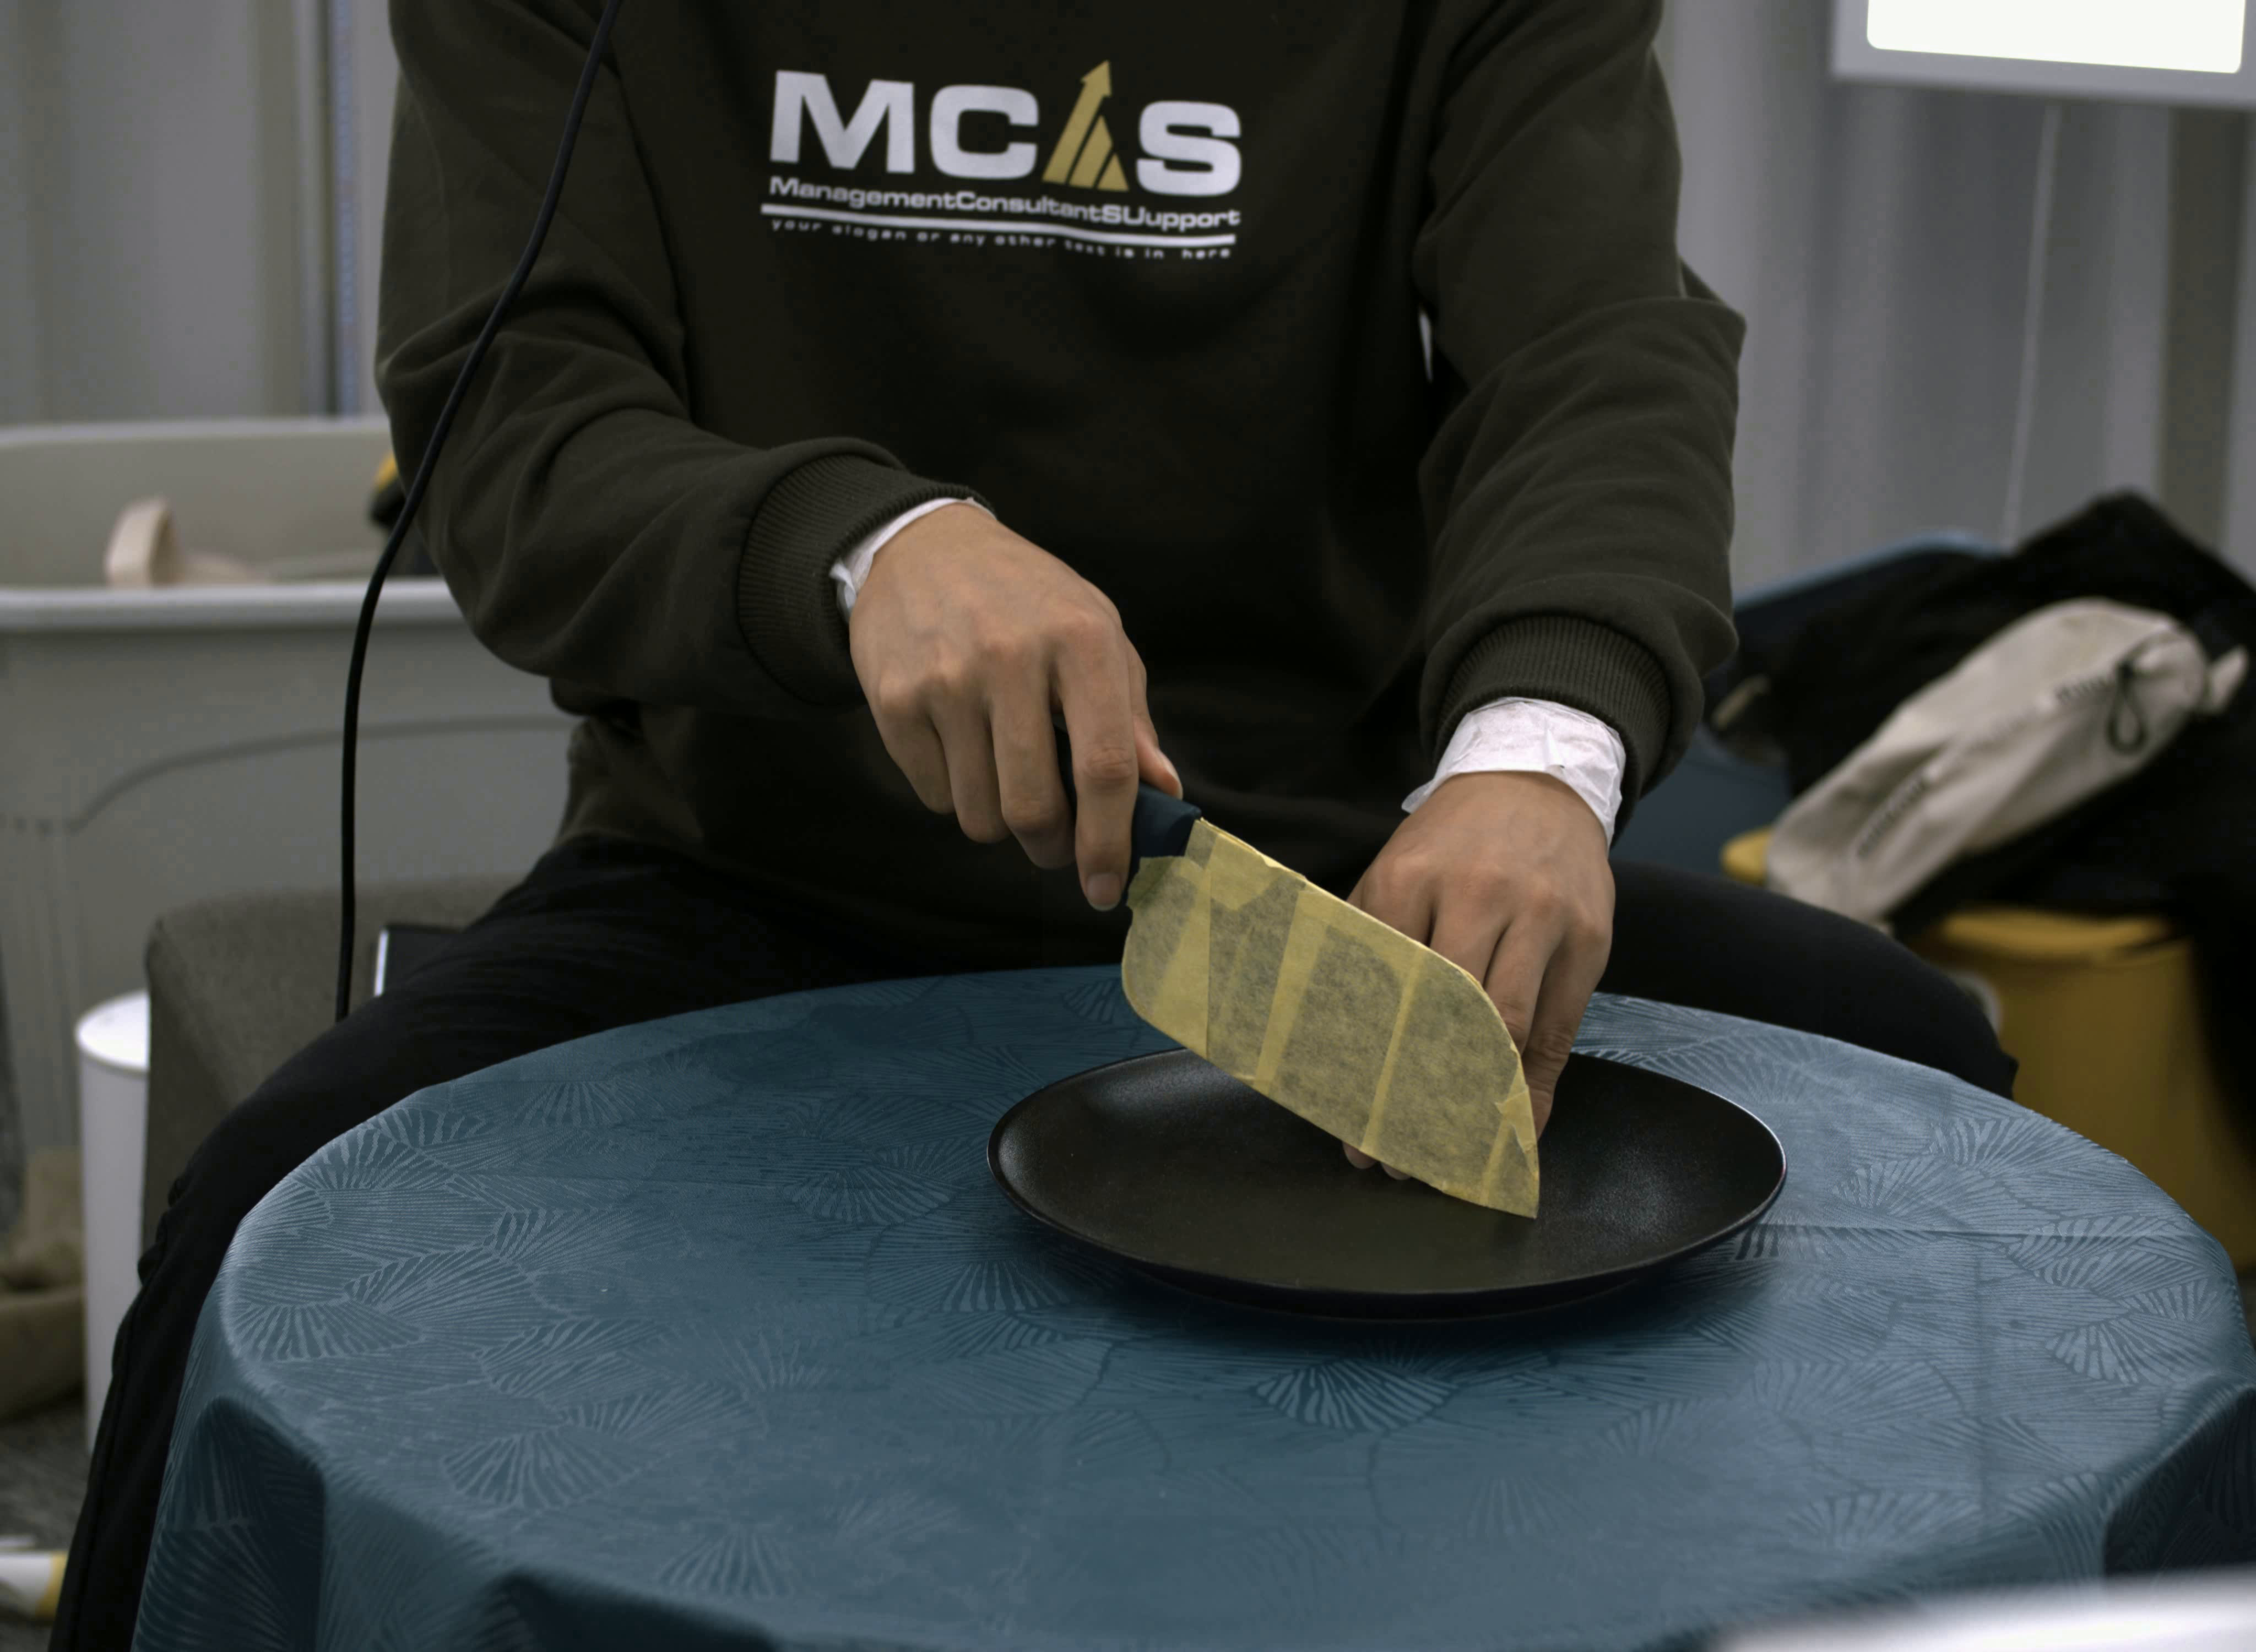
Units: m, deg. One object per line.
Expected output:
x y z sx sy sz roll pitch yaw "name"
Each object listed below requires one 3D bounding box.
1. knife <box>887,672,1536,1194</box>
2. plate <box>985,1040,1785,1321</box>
0.022 0.031 1.646 0.285 0.081 0.027 35 27 33 "knife"
0.077 0.108 1.598 0.243 0.023 0.243 1 15 0 "plate"
